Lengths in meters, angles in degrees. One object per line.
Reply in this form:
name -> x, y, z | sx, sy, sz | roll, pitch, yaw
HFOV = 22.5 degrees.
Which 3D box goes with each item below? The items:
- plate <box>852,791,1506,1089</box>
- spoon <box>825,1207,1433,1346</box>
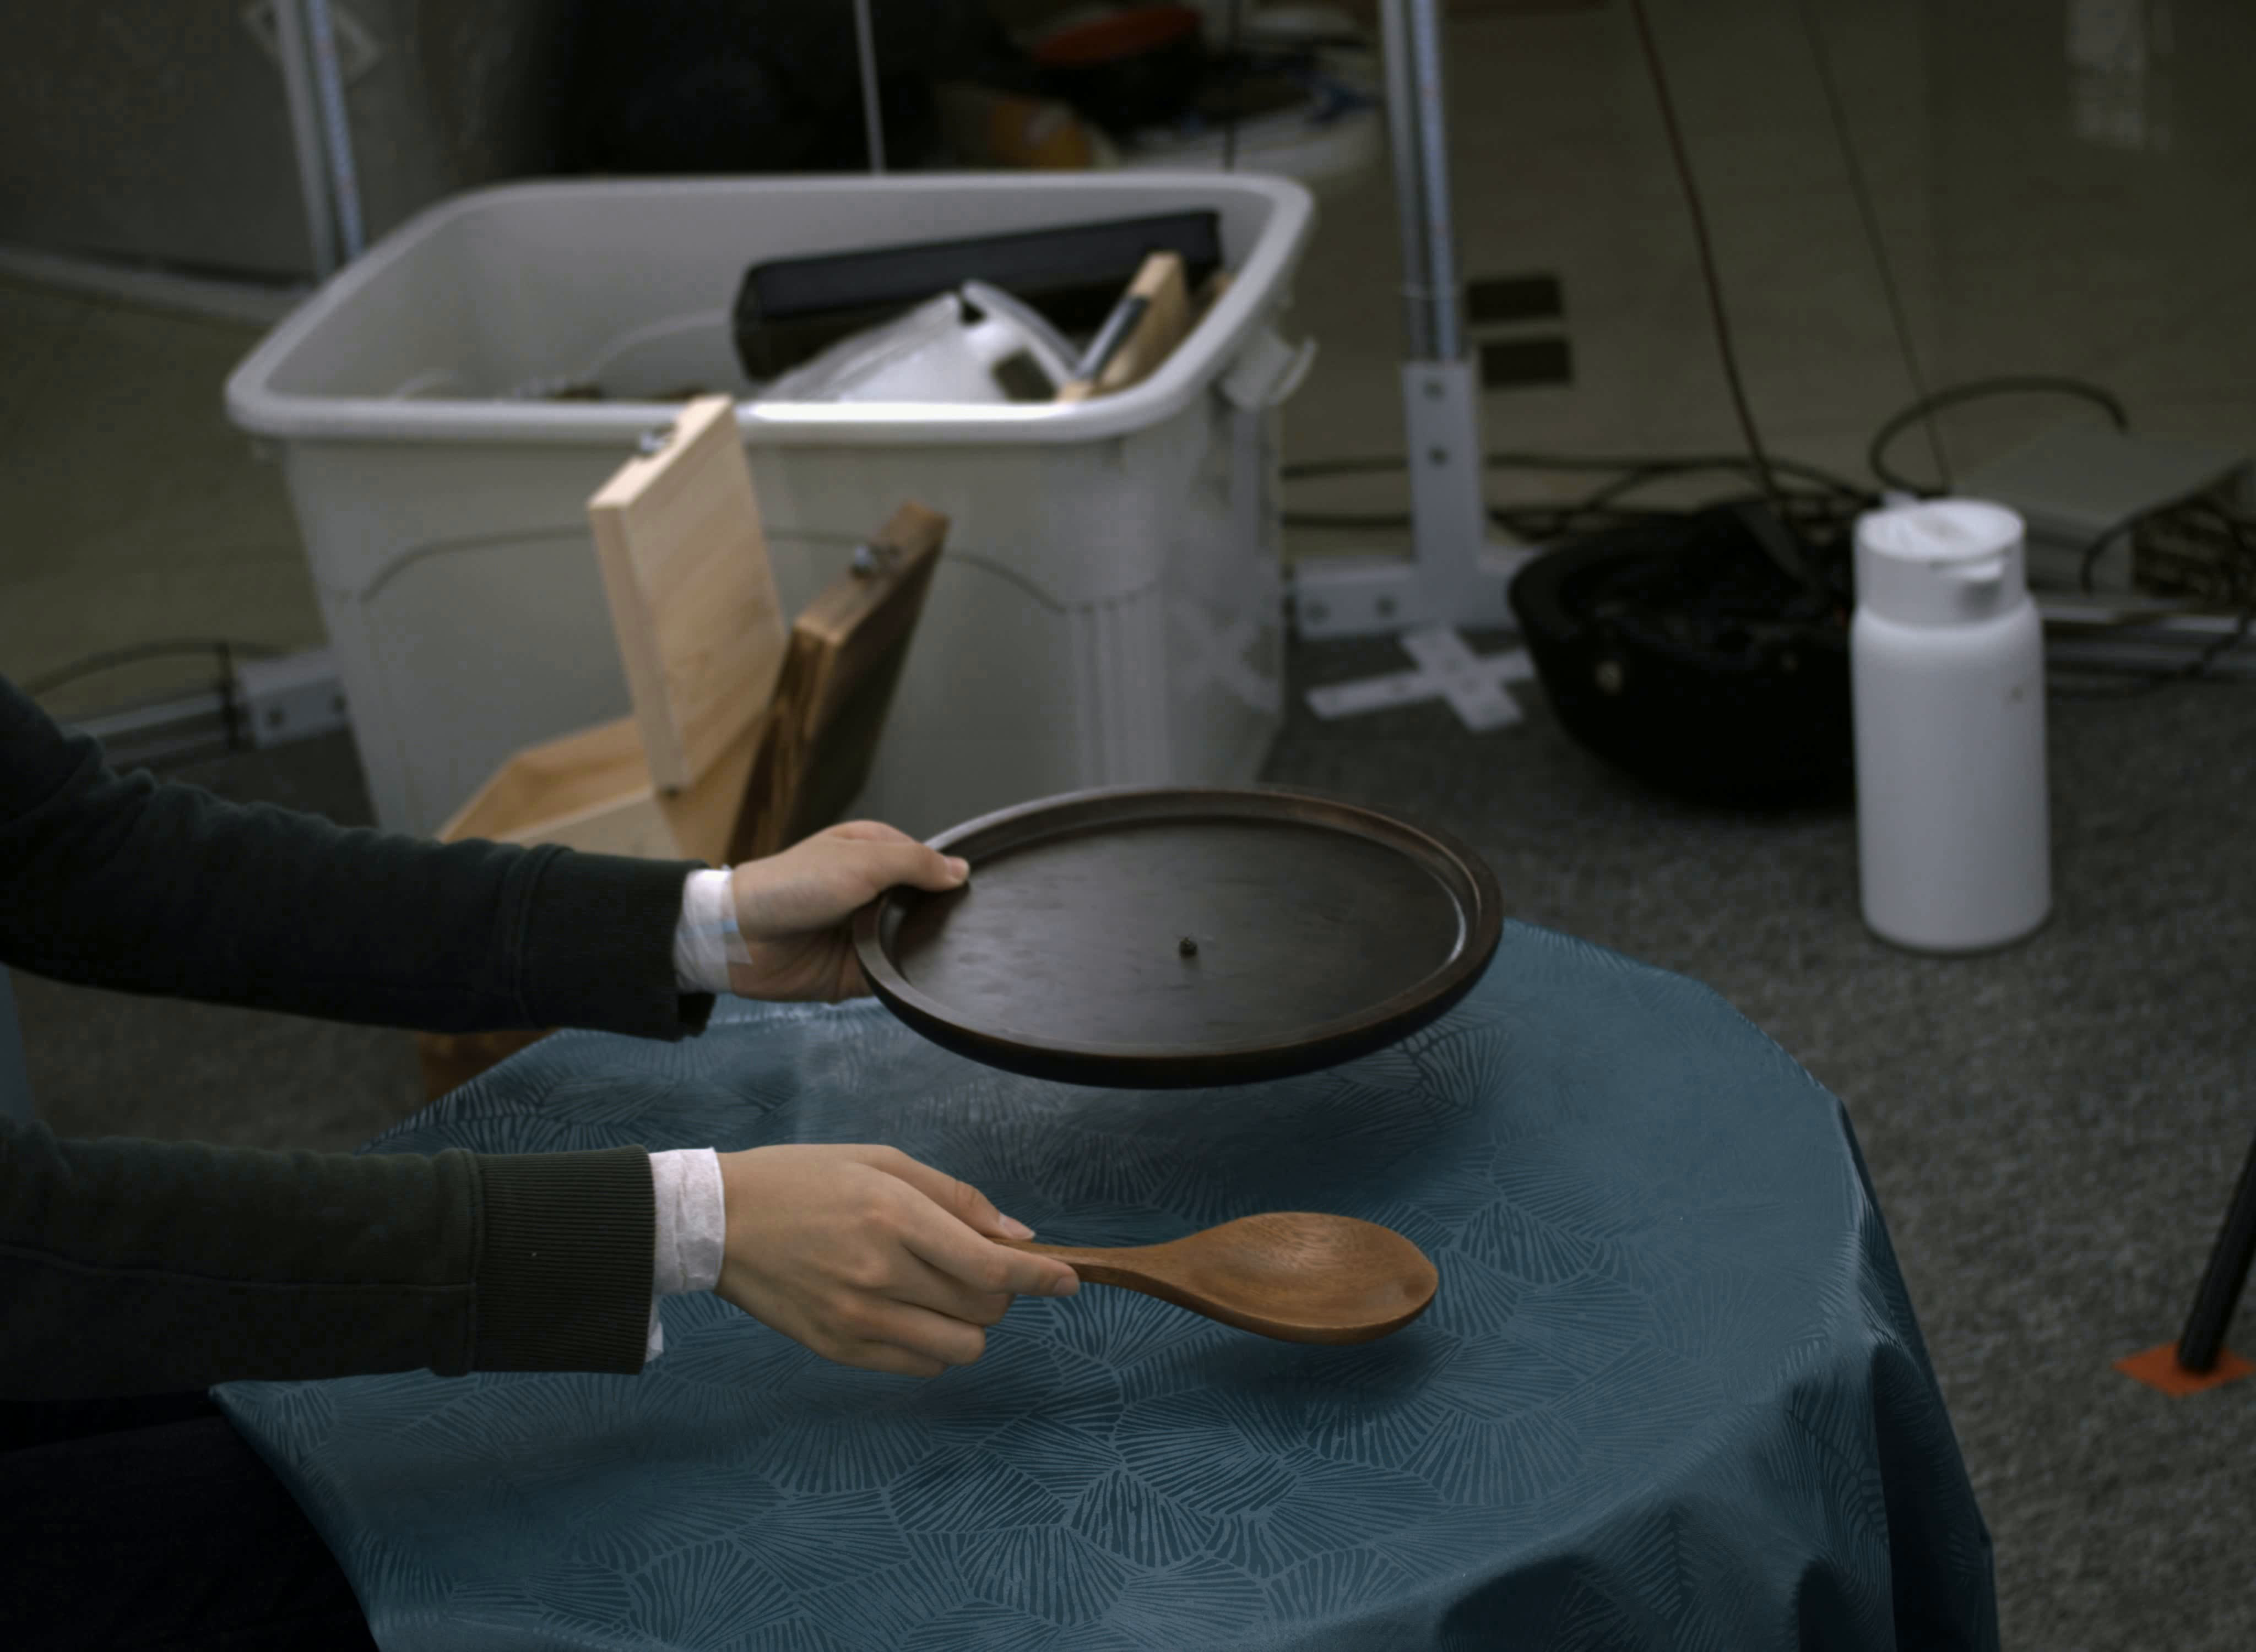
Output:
plate -> 0.019, 0.042, 2.193 | 0.254, 0.029, 0.251 | -1, 23, 1
spoon -> 0.000, 0.157, 2.010 | 0.215, 0.017, 0.074 | 4, 31, 0
